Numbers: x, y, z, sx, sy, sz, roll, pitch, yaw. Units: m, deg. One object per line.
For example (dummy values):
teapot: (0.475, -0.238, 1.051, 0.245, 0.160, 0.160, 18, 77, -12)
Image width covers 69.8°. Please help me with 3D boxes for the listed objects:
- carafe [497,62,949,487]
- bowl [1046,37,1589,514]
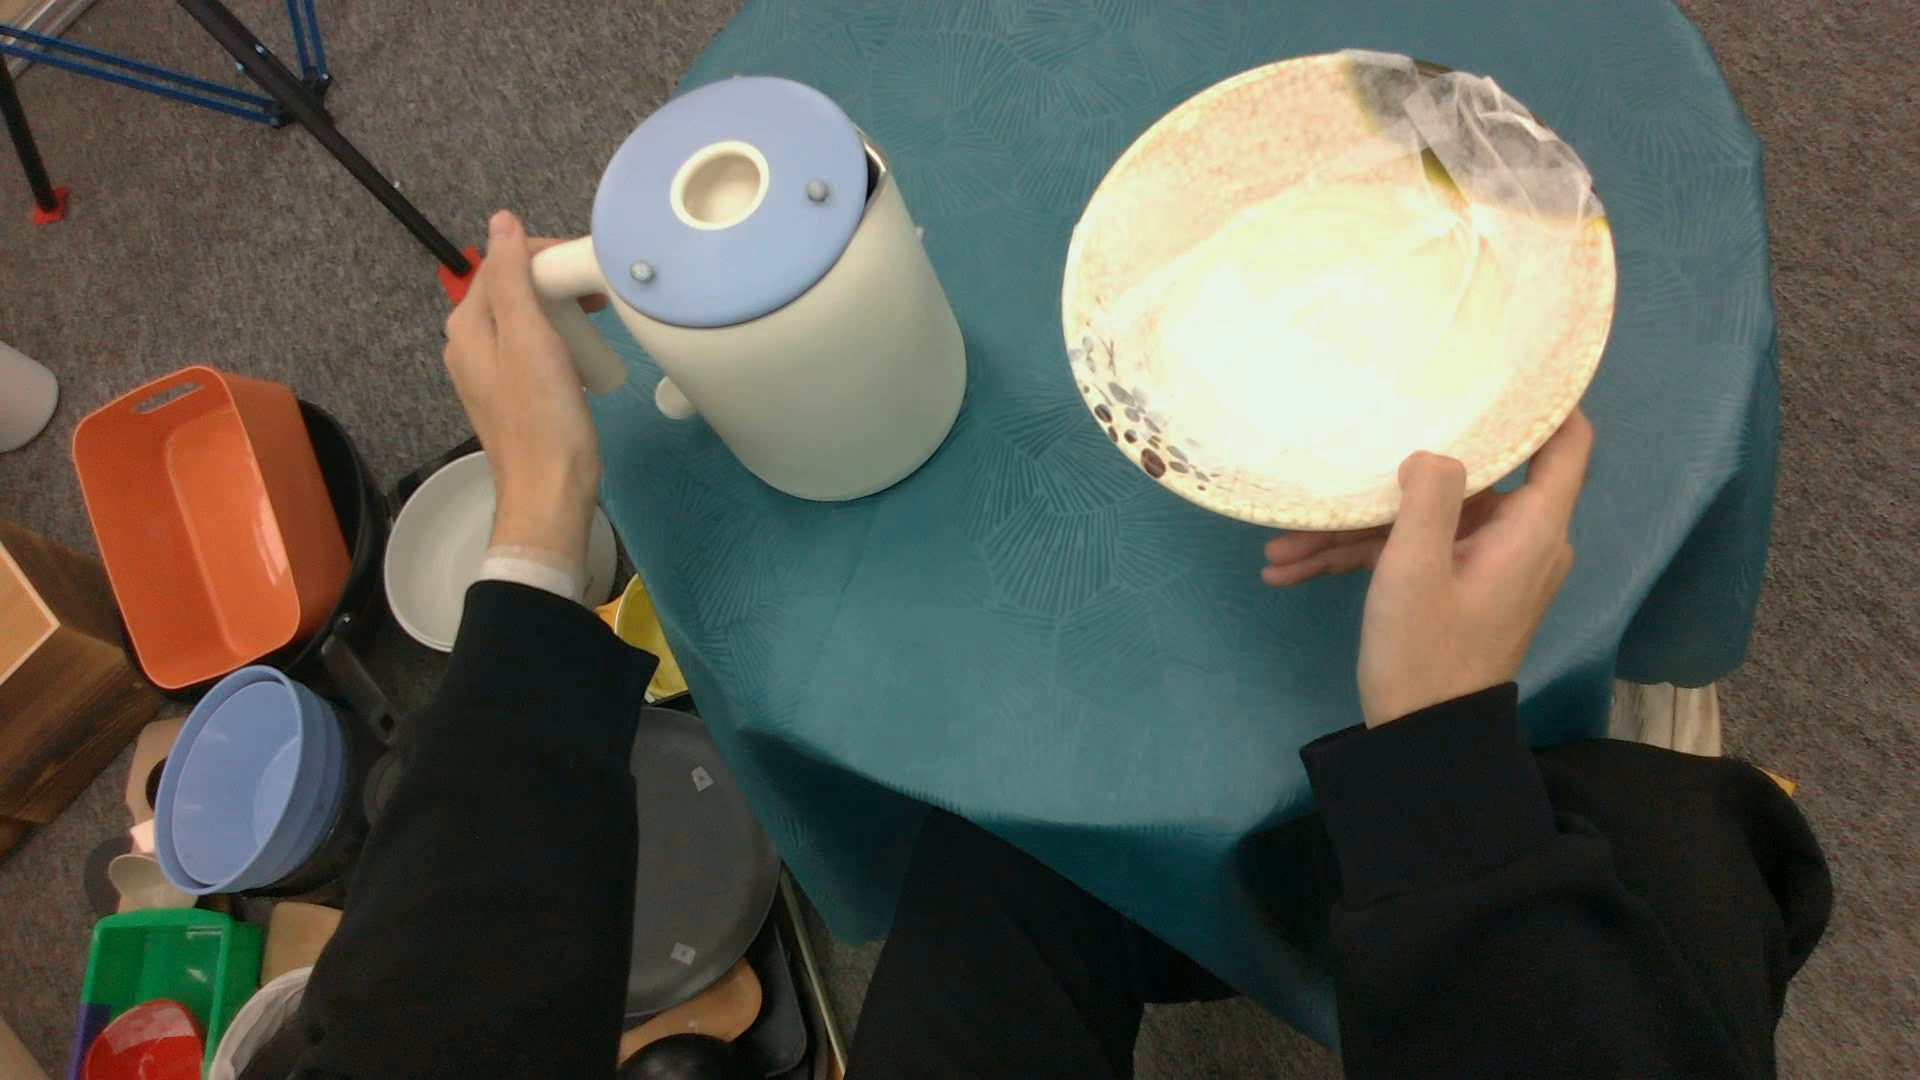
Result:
carafe: (-0.109, -0.110, 0.637, 0.191, 0.182, 0.132, -12, 65, 11)
bowl: (0.142, -0.097, 0.565, 0.204, 0.078, 0.204, -4, 72, 13)
